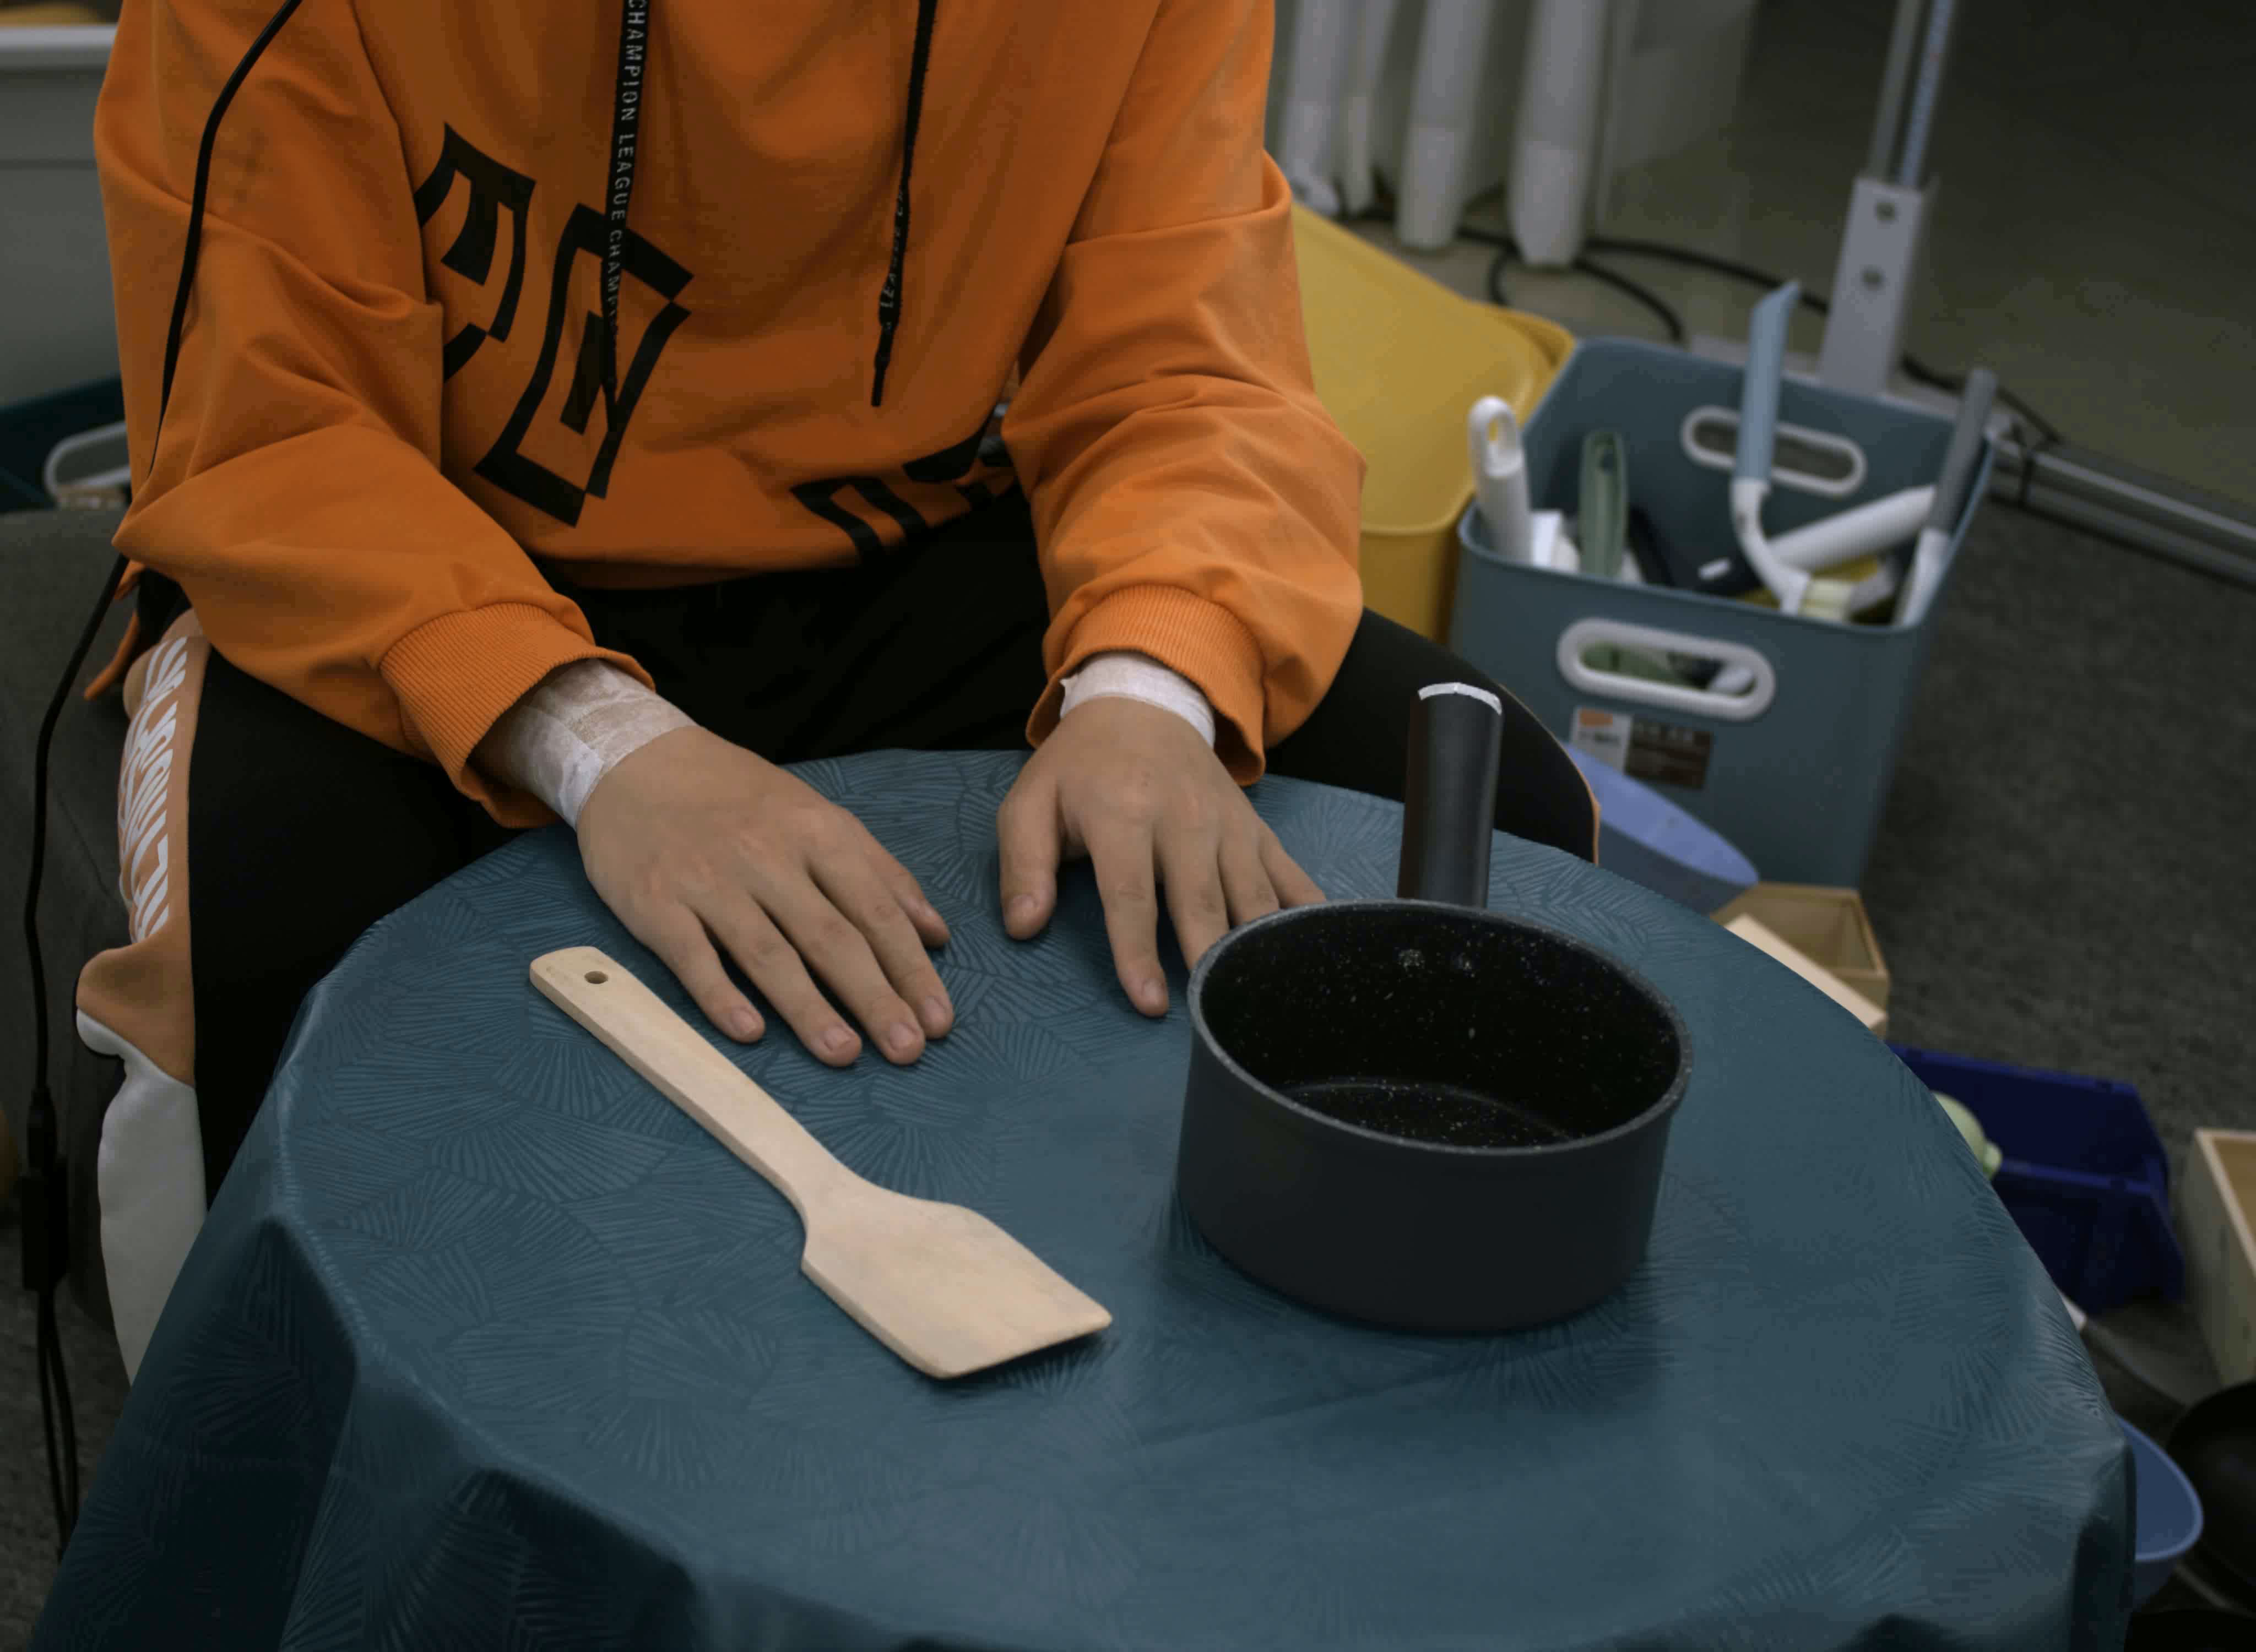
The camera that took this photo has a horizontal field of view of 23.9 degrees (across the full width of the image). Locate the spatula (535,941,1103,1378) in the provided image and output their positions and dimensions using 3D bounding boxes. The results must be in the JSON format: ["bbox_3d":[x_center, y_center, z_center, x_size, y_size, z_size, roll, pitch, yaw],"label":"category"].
[{"bbox_3d":[-0.119,0.107,1.798,0.072,0.010,0.295,-17,35,-32],"label":"spatula"}]

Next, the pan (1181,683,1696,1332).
[{"bbox_3d":[0.110,0.059,1.862,0.172,0.086,0.330,9,29,4],"label":"pan"}]
